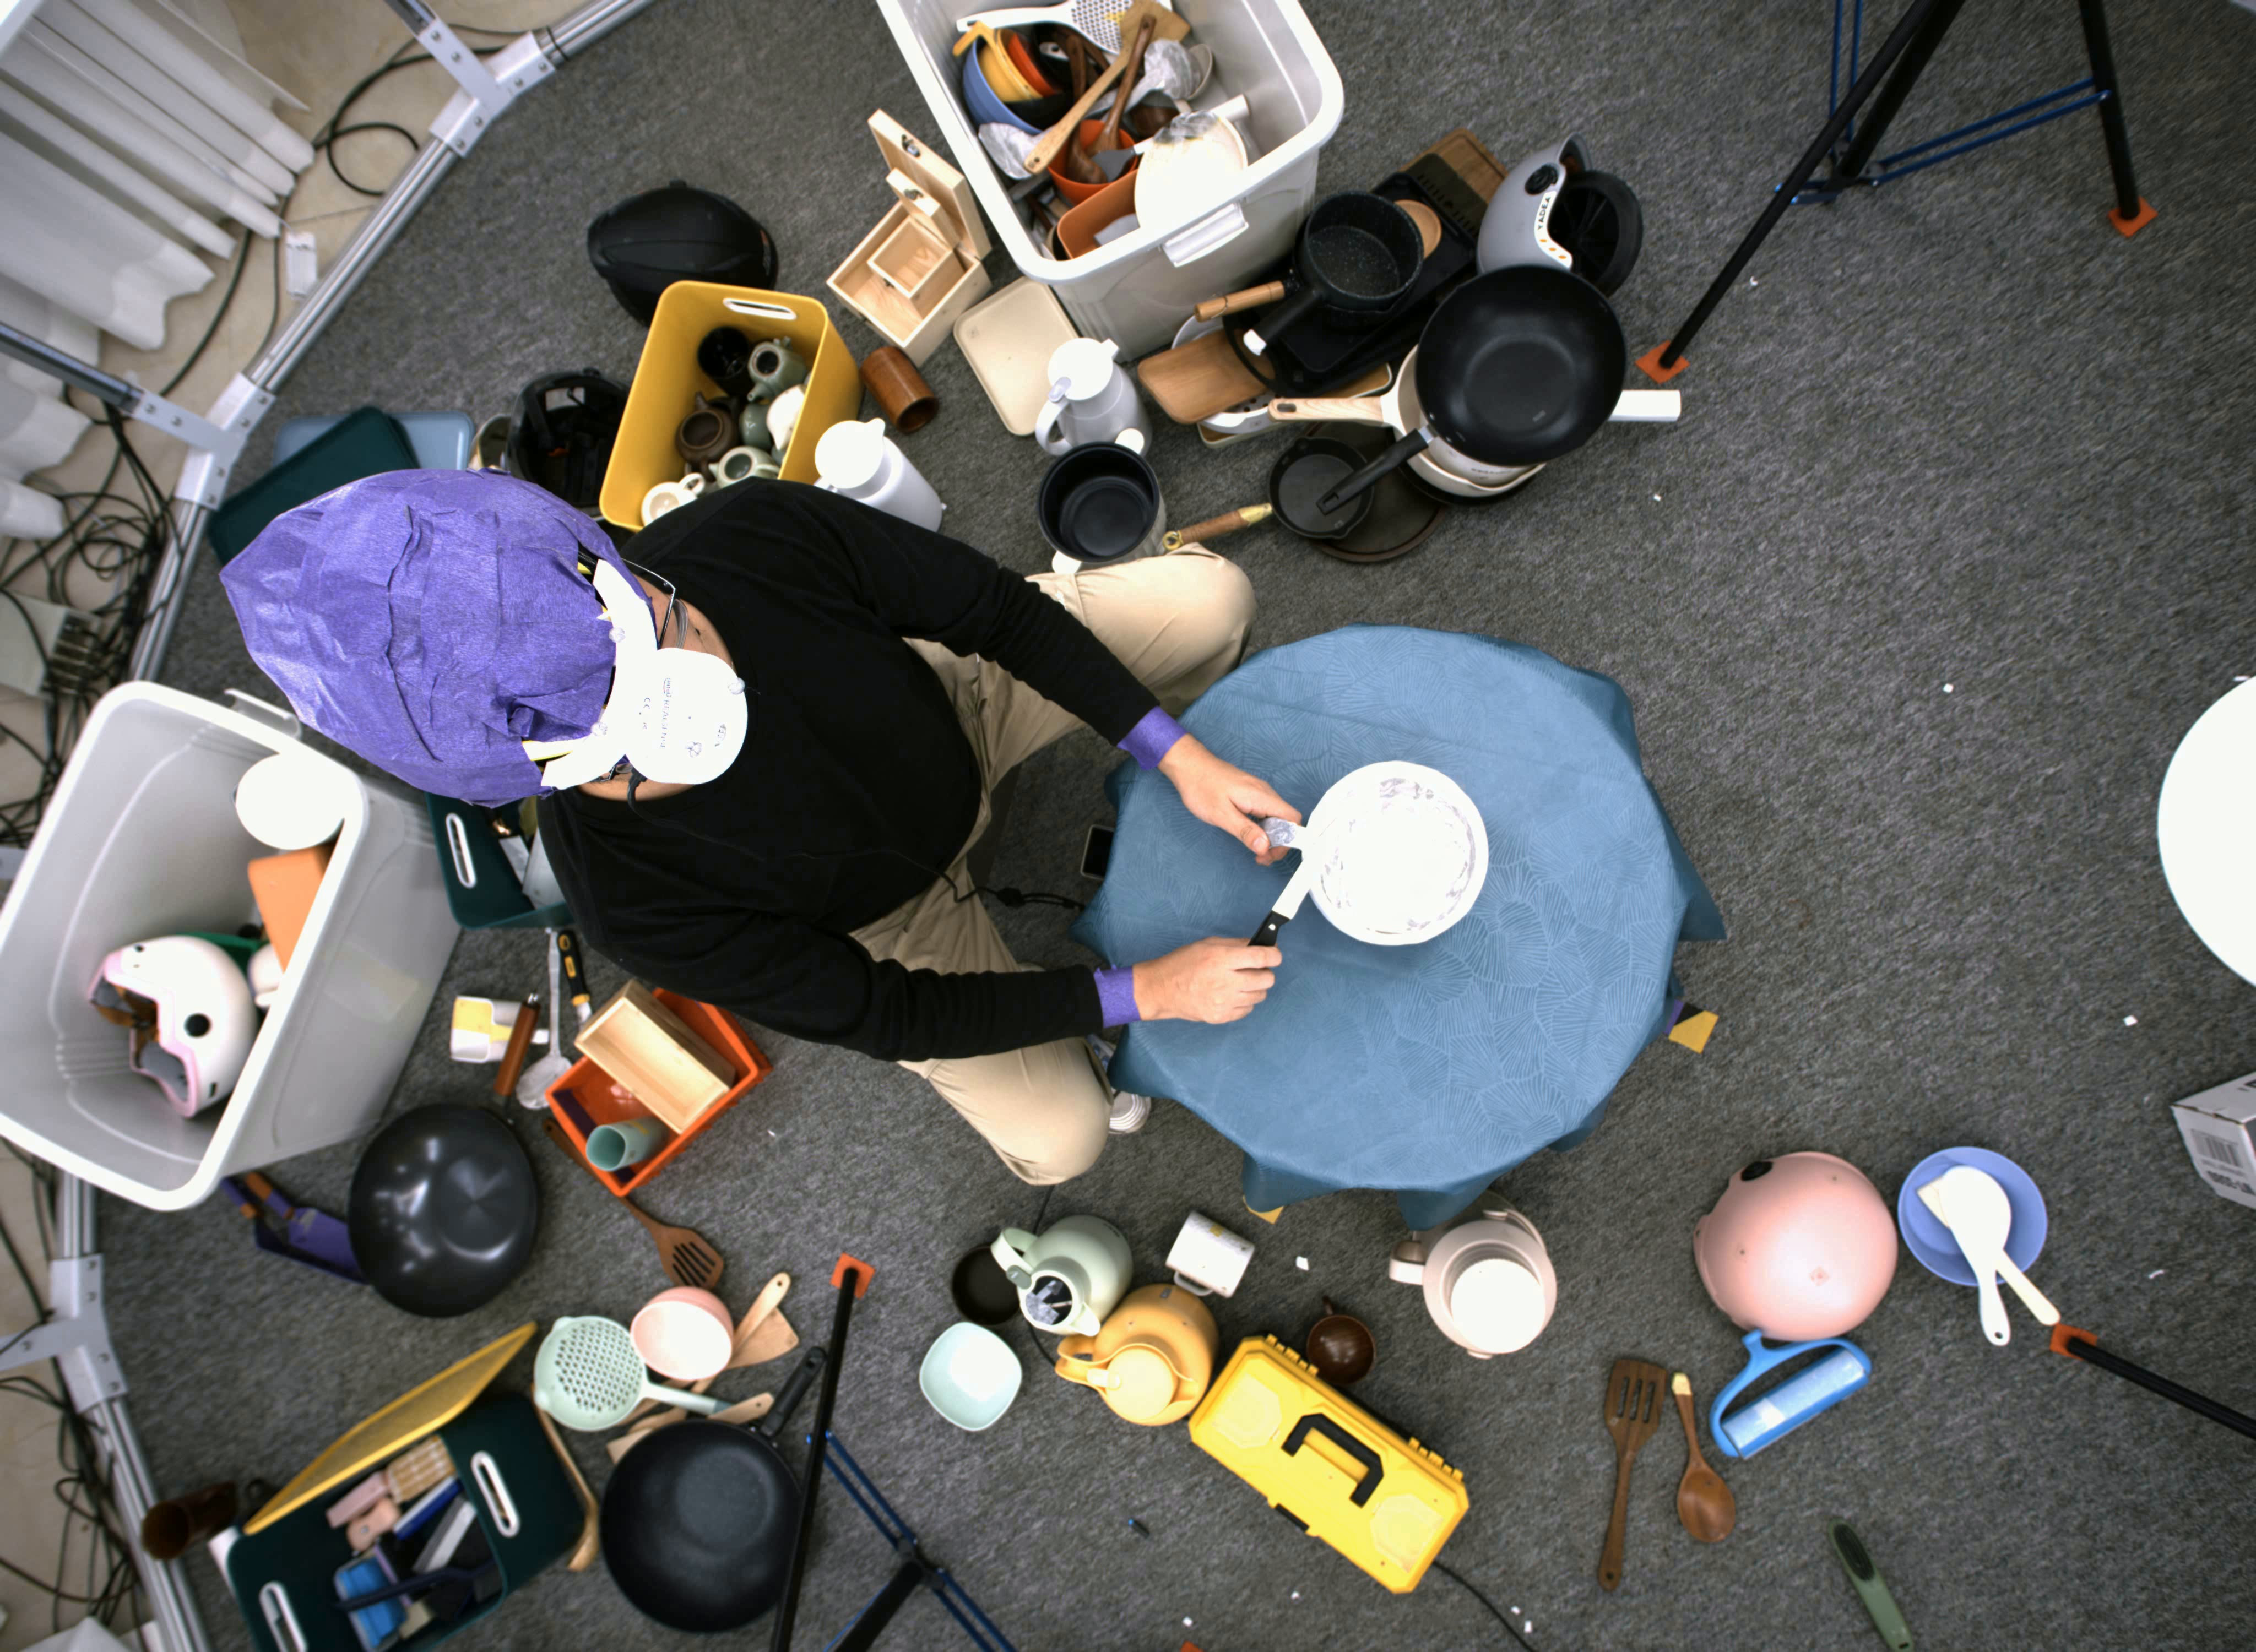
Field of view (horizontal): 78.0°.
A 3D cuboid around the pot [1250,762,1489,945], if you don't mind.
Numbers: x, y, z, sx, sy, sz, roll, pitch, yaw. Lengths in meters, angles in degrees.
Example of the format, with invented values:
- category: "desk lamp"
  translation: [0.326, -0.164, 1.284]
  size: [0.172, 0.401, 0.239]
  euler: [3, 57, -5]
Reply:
- category: "pot"
  translation: [0.238, 0.026, 1.394]
  size: [0.234, 0.137, 0.178]
  euler: [10, 87, 7]

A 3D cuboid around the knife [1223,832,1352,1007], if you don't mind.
- category: "knife"
  translation: [0.153, 0.092, 1.359]
  size: [0.024, 0.016, 0.244]
  euler: [24, 123, -11]
